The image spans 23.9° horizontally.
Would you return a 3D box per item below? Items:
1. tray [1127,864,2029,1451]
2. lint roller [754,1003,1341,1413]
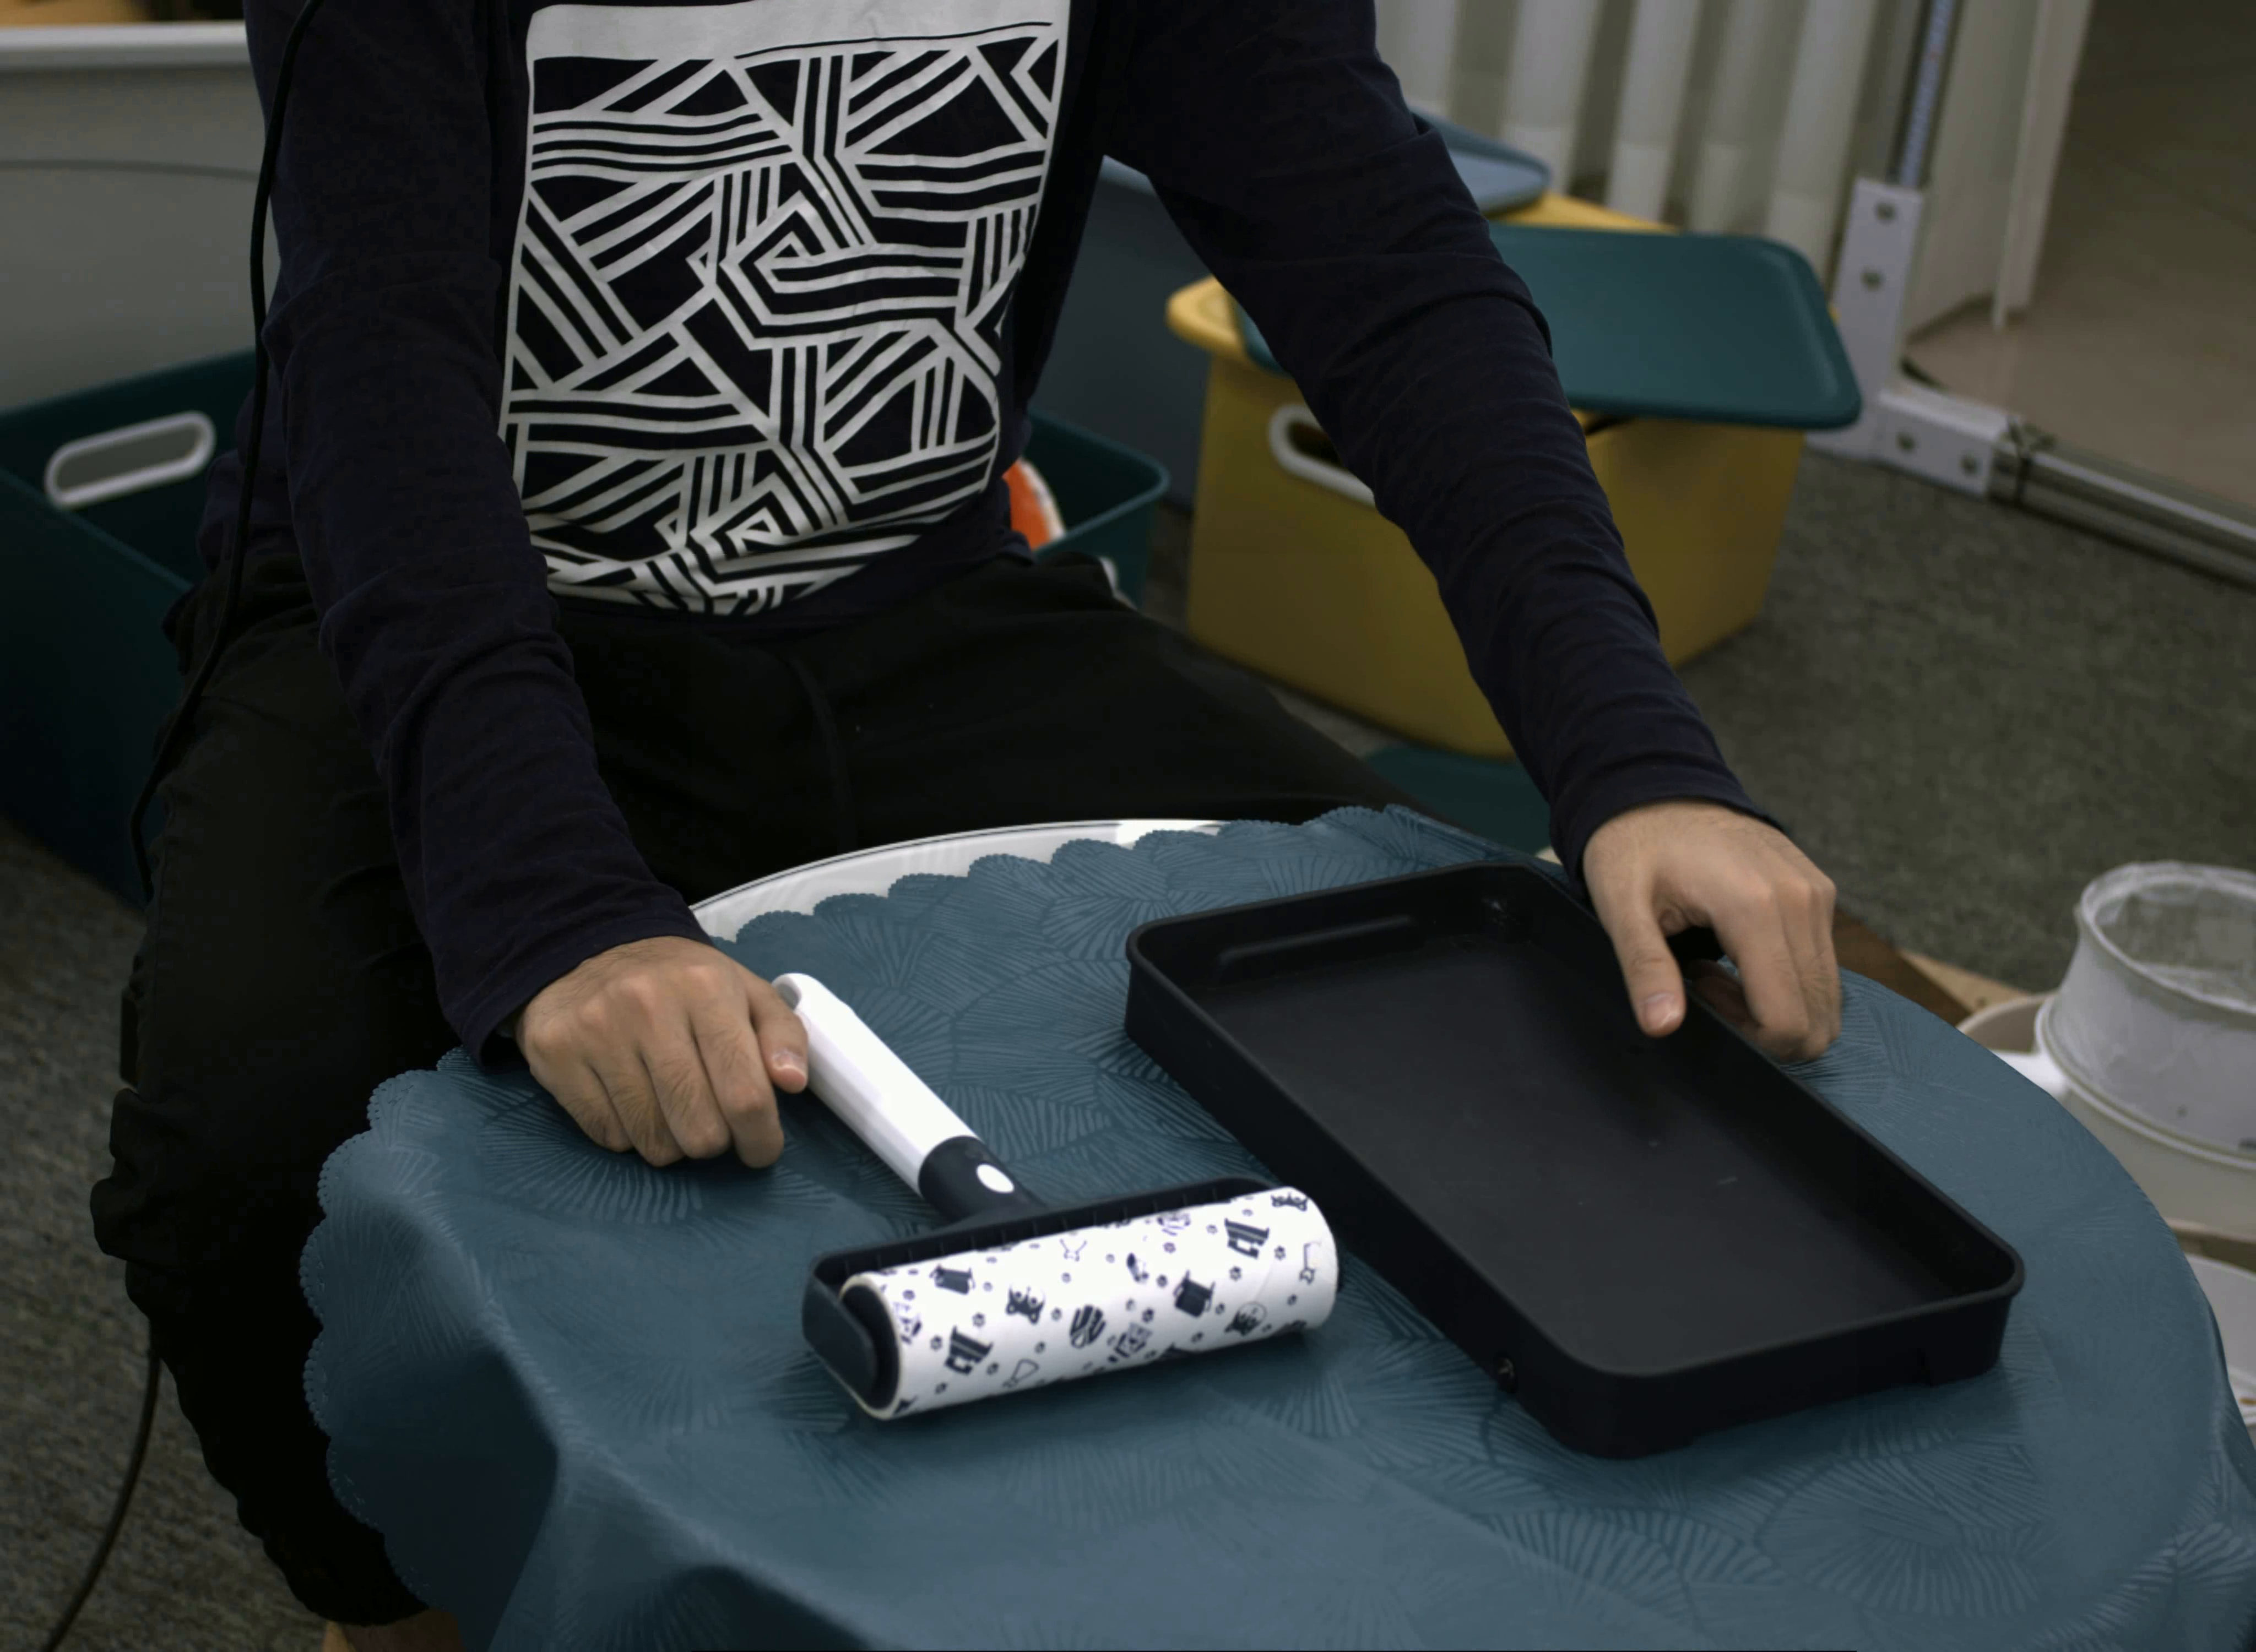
[{"bbox_3d":[0.147,0.107,1.832,0.183,0.037,0.321,-9,30,-29],"label":"tray"},{"bbox_3d":[-0.064,0.110,1.774,0.175,0.050,0.249,-10,28,-28],"label":"lint roller"}]
